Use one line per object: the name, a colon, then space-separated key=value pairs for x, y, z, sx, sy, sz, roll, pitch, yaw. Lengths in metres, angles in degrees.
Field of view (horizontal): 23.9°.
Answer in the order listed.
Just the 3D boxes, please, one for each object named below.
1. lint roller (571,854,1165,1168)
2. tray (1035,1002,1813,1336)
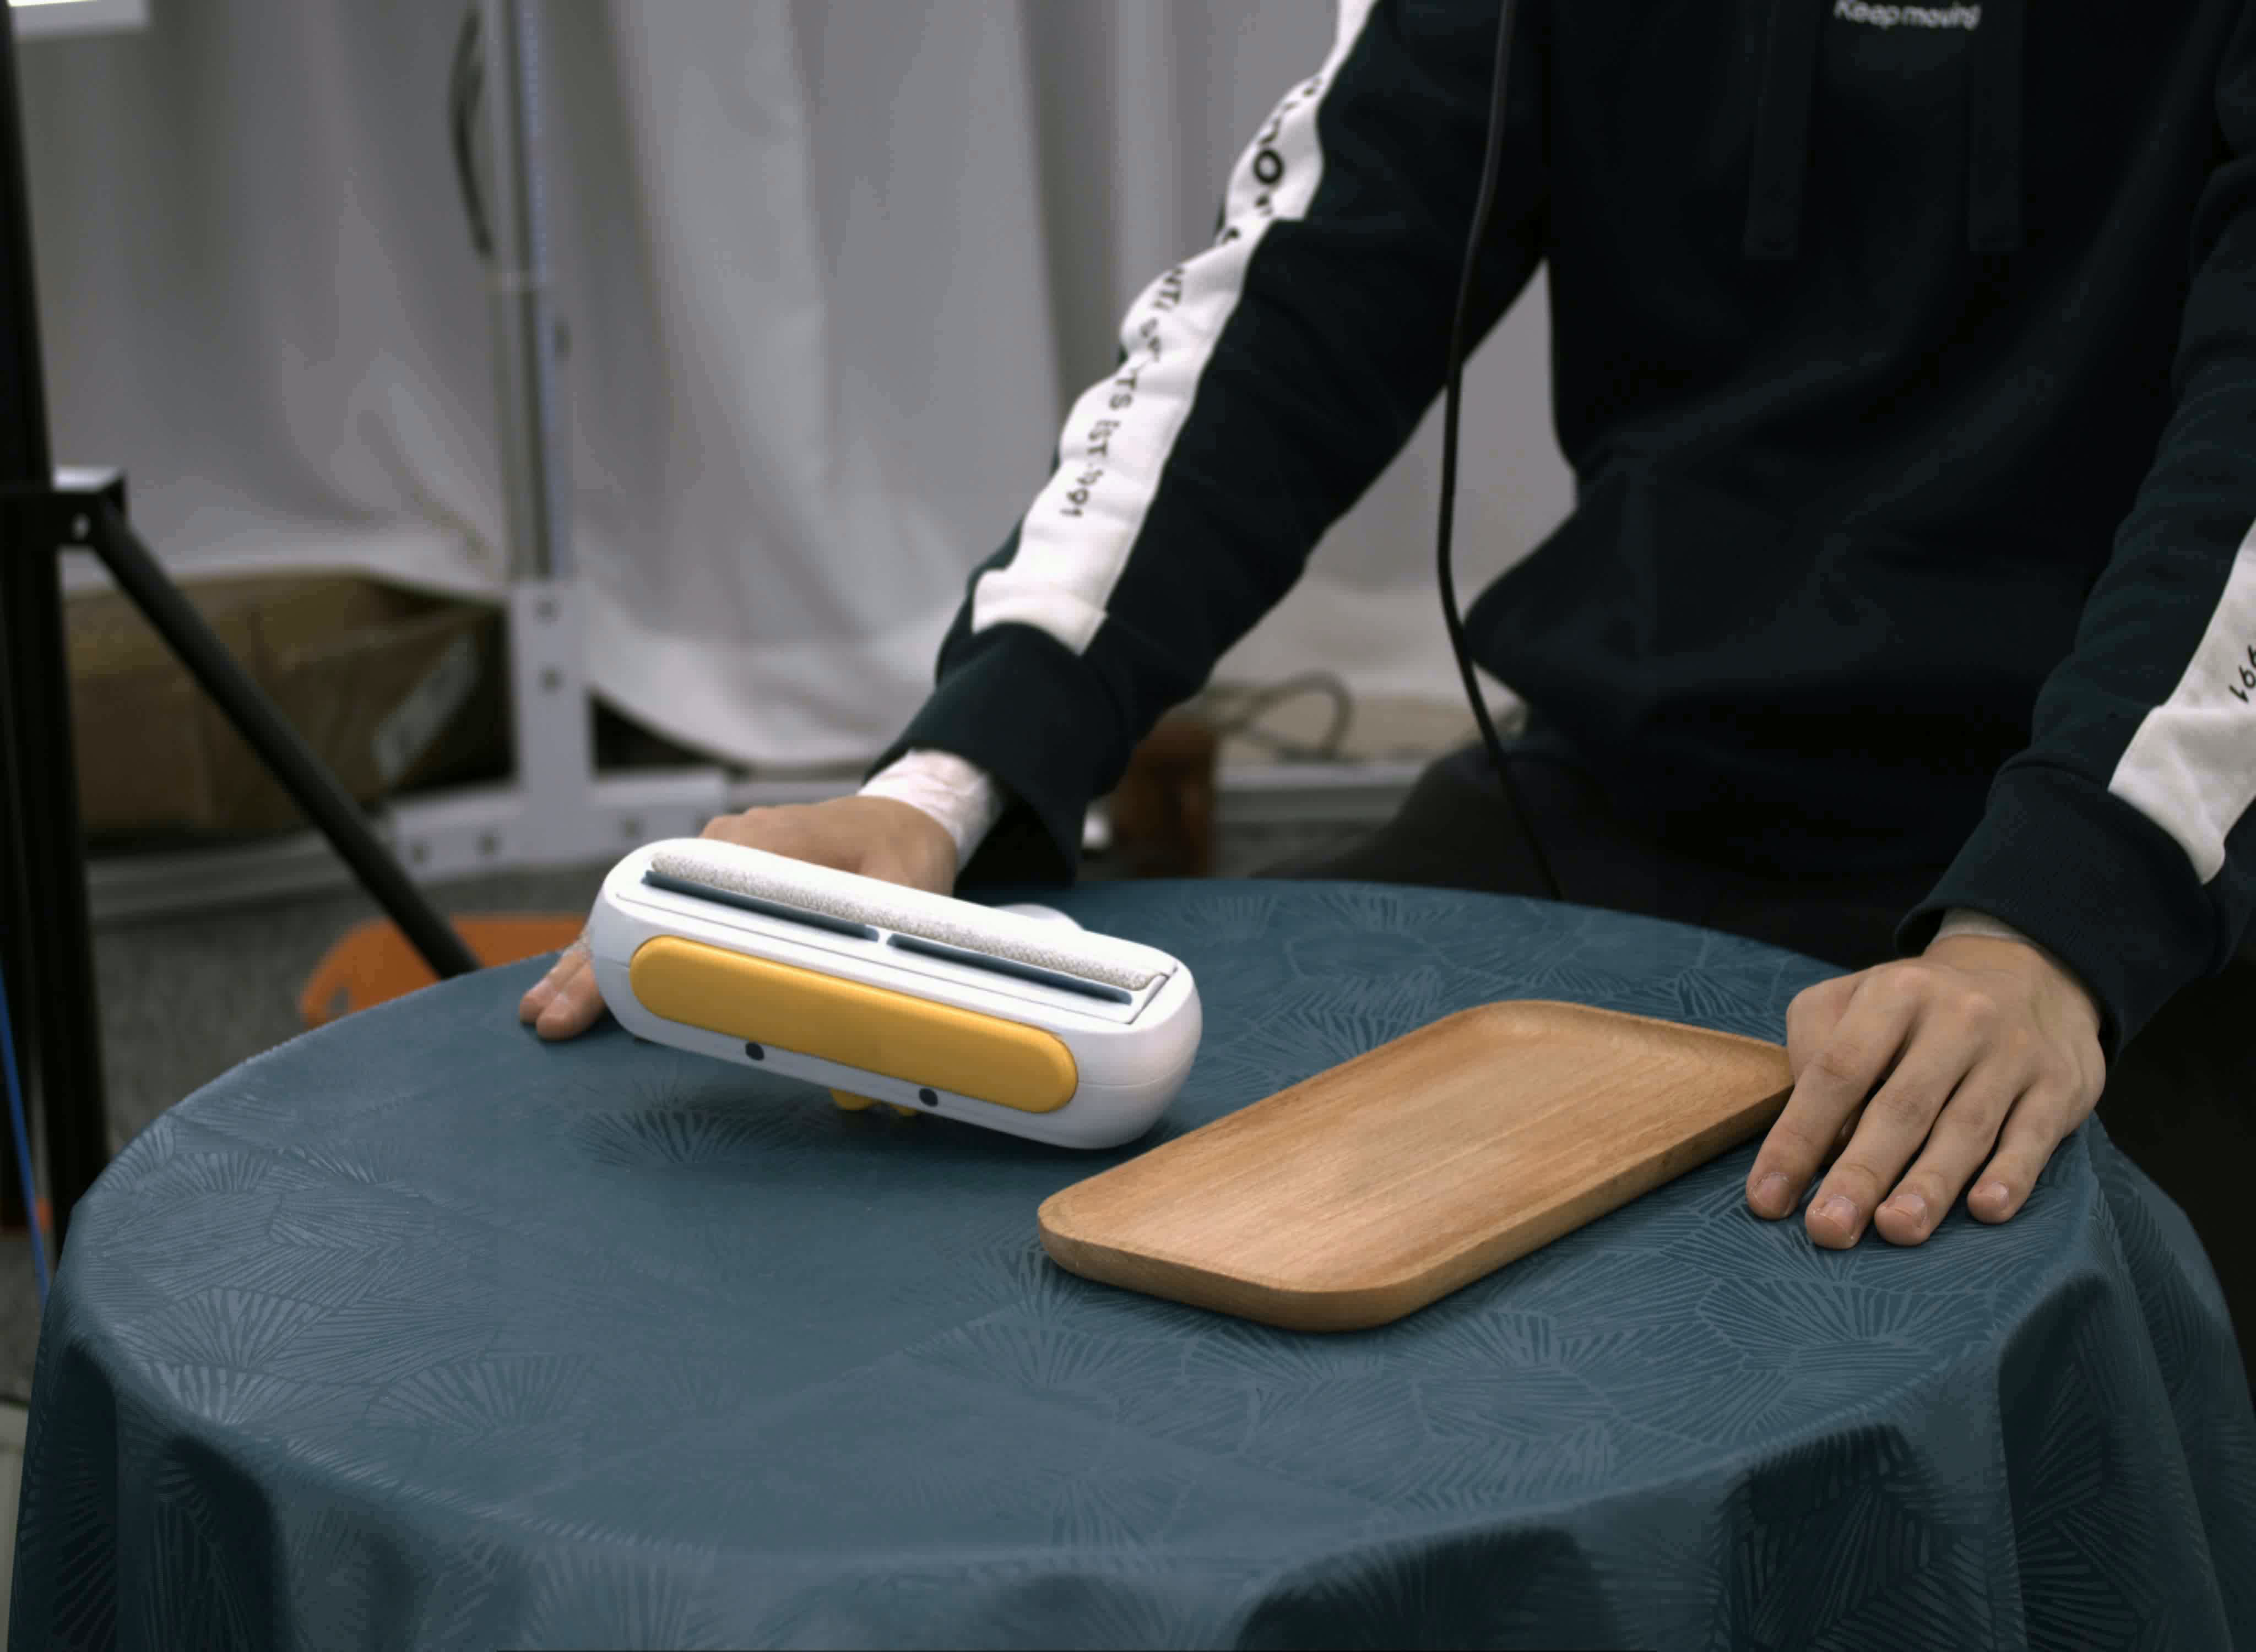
lint roller: x=-0.058 y=0.061 z=1.678 sx=0.196 sy=0.074 sz=0.189 roll=13 pitch=6 yaw=24
tray: x=0.090 y=0.098 z=1.550 sx=0.133 sy=0.023 sz=0.245 roll=13 pitch=22 yaw=39
